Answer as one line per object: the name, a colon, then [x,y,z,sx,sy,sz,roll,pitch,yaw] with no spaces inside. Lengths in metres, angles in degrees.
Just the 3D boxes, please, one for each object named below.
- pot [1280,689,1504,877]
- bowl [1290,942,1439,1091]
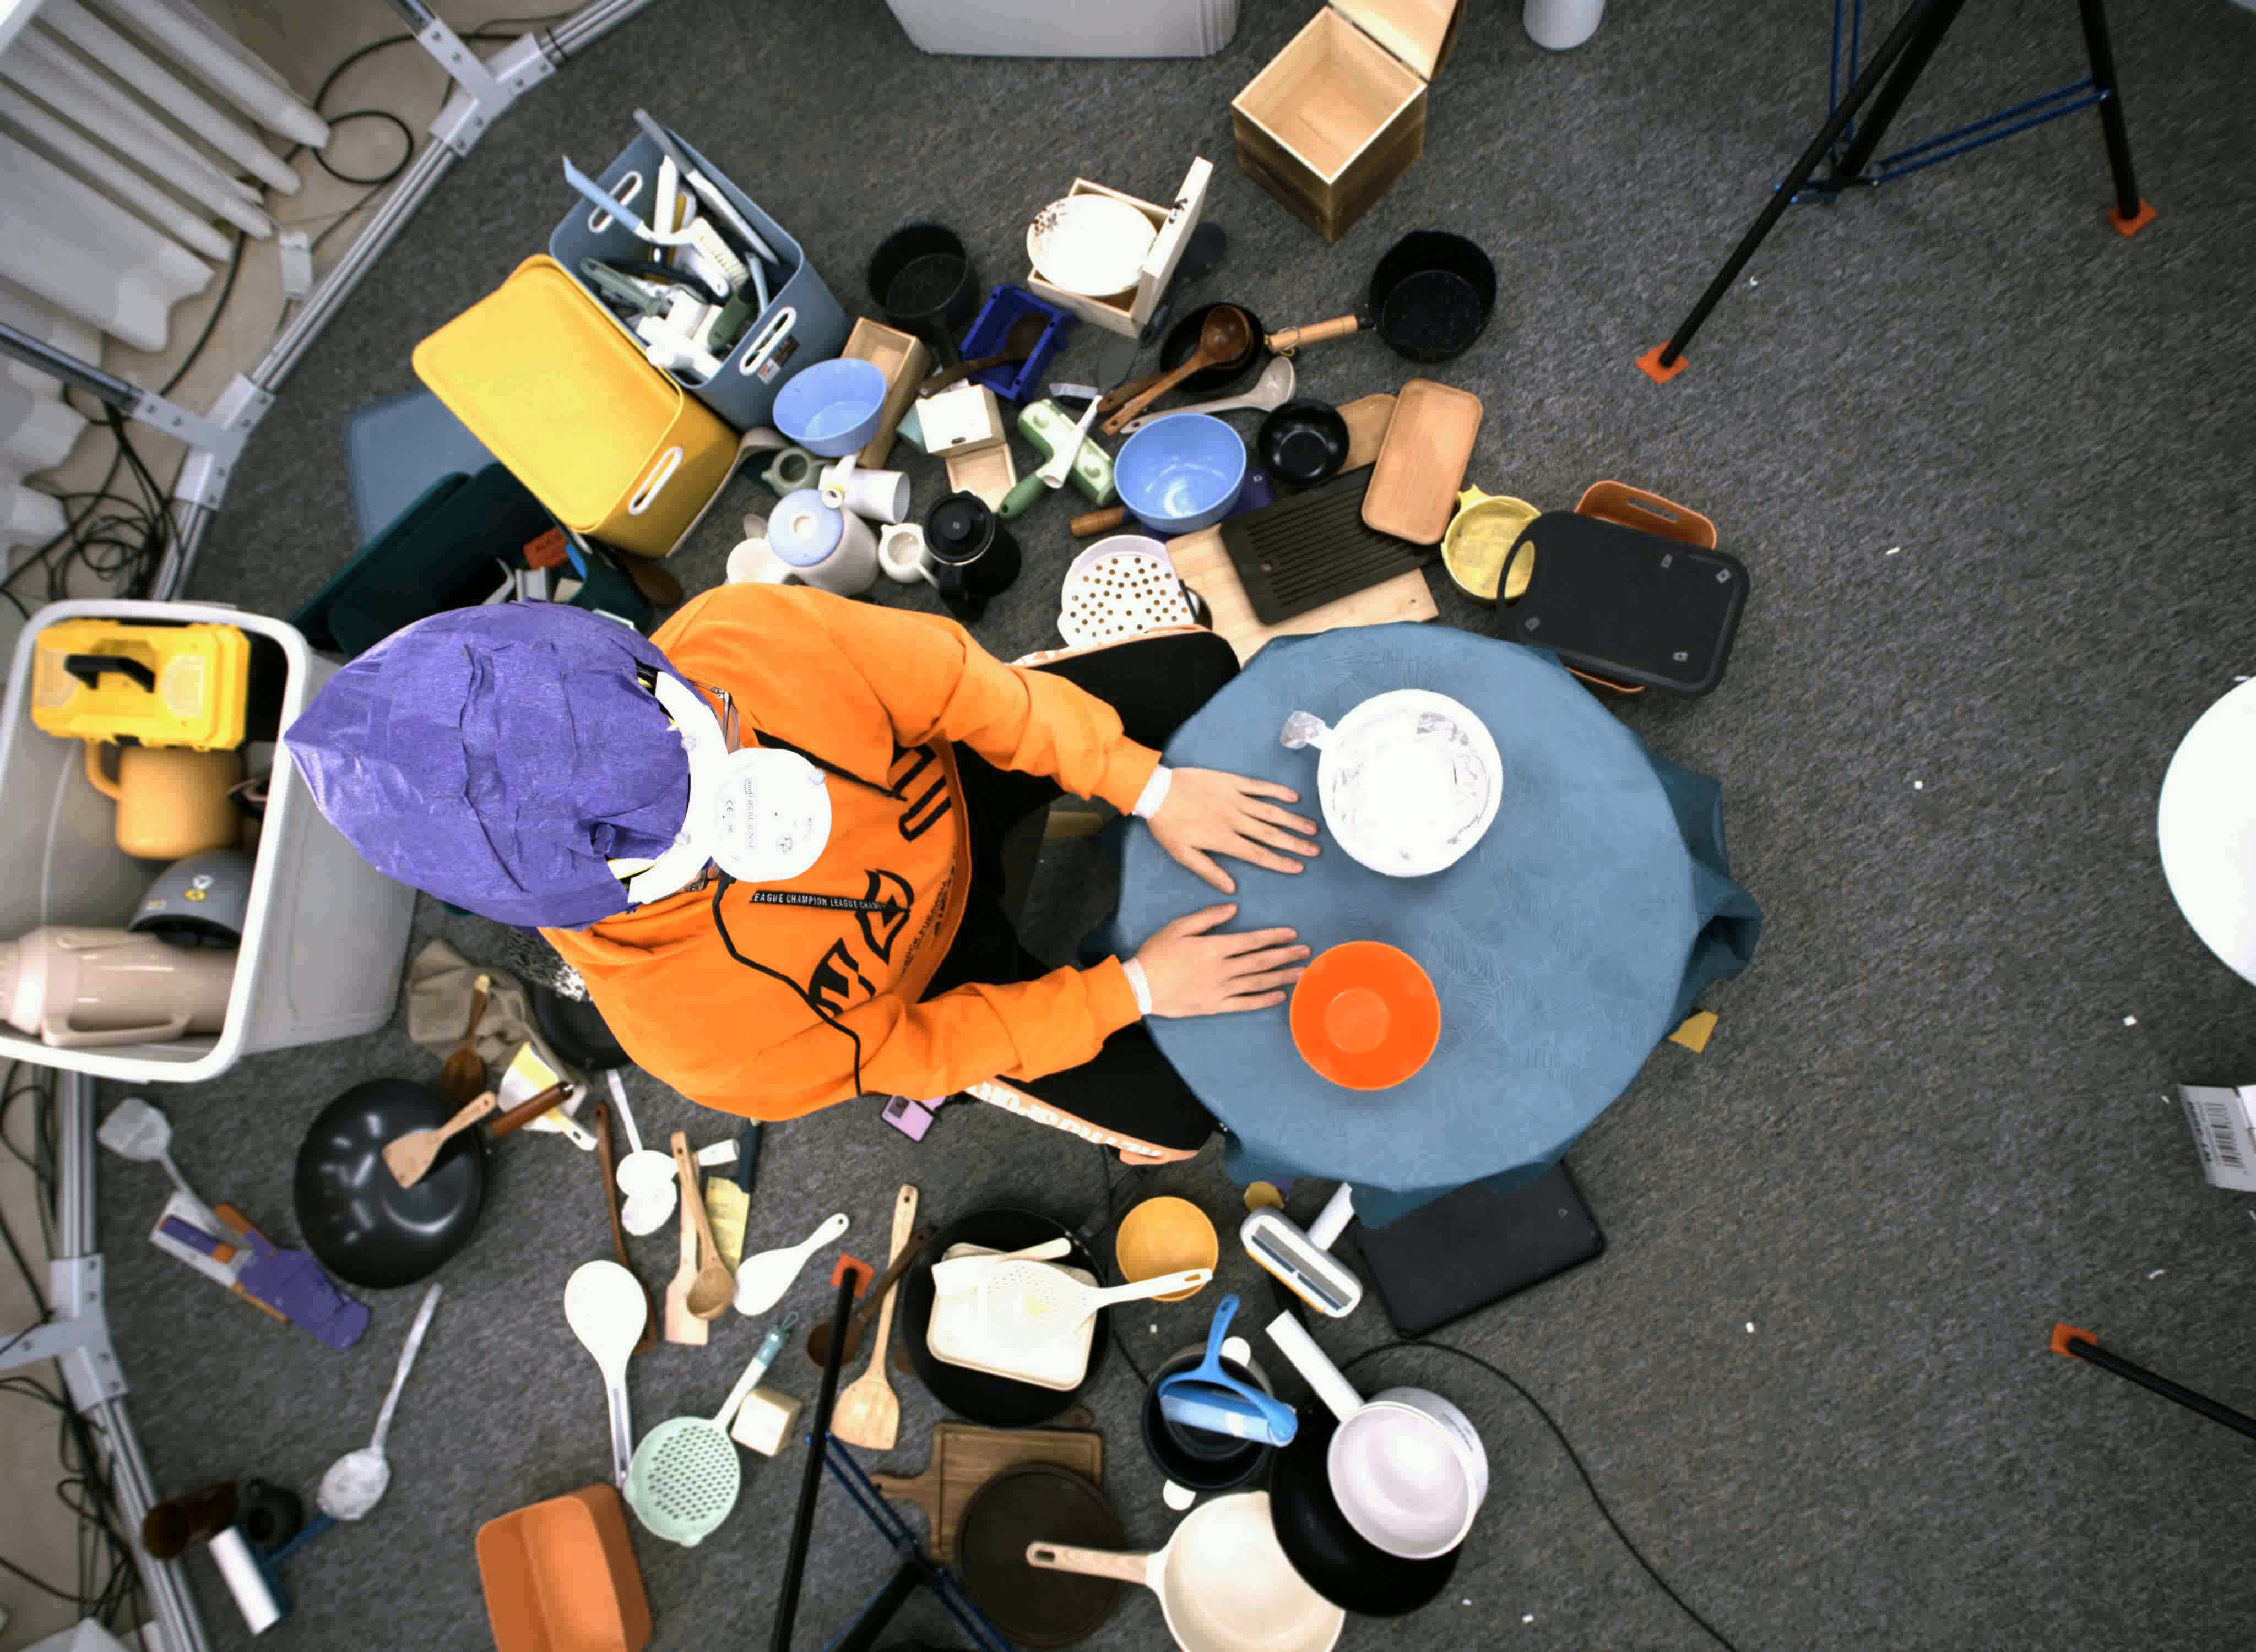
pot: [0.259,-0.053,1.399,0.233,0.137,0.179,28,91,11]
bowl: [0.241,0.192,1.410,0.148,0.104,0.147,-1,87,11]
